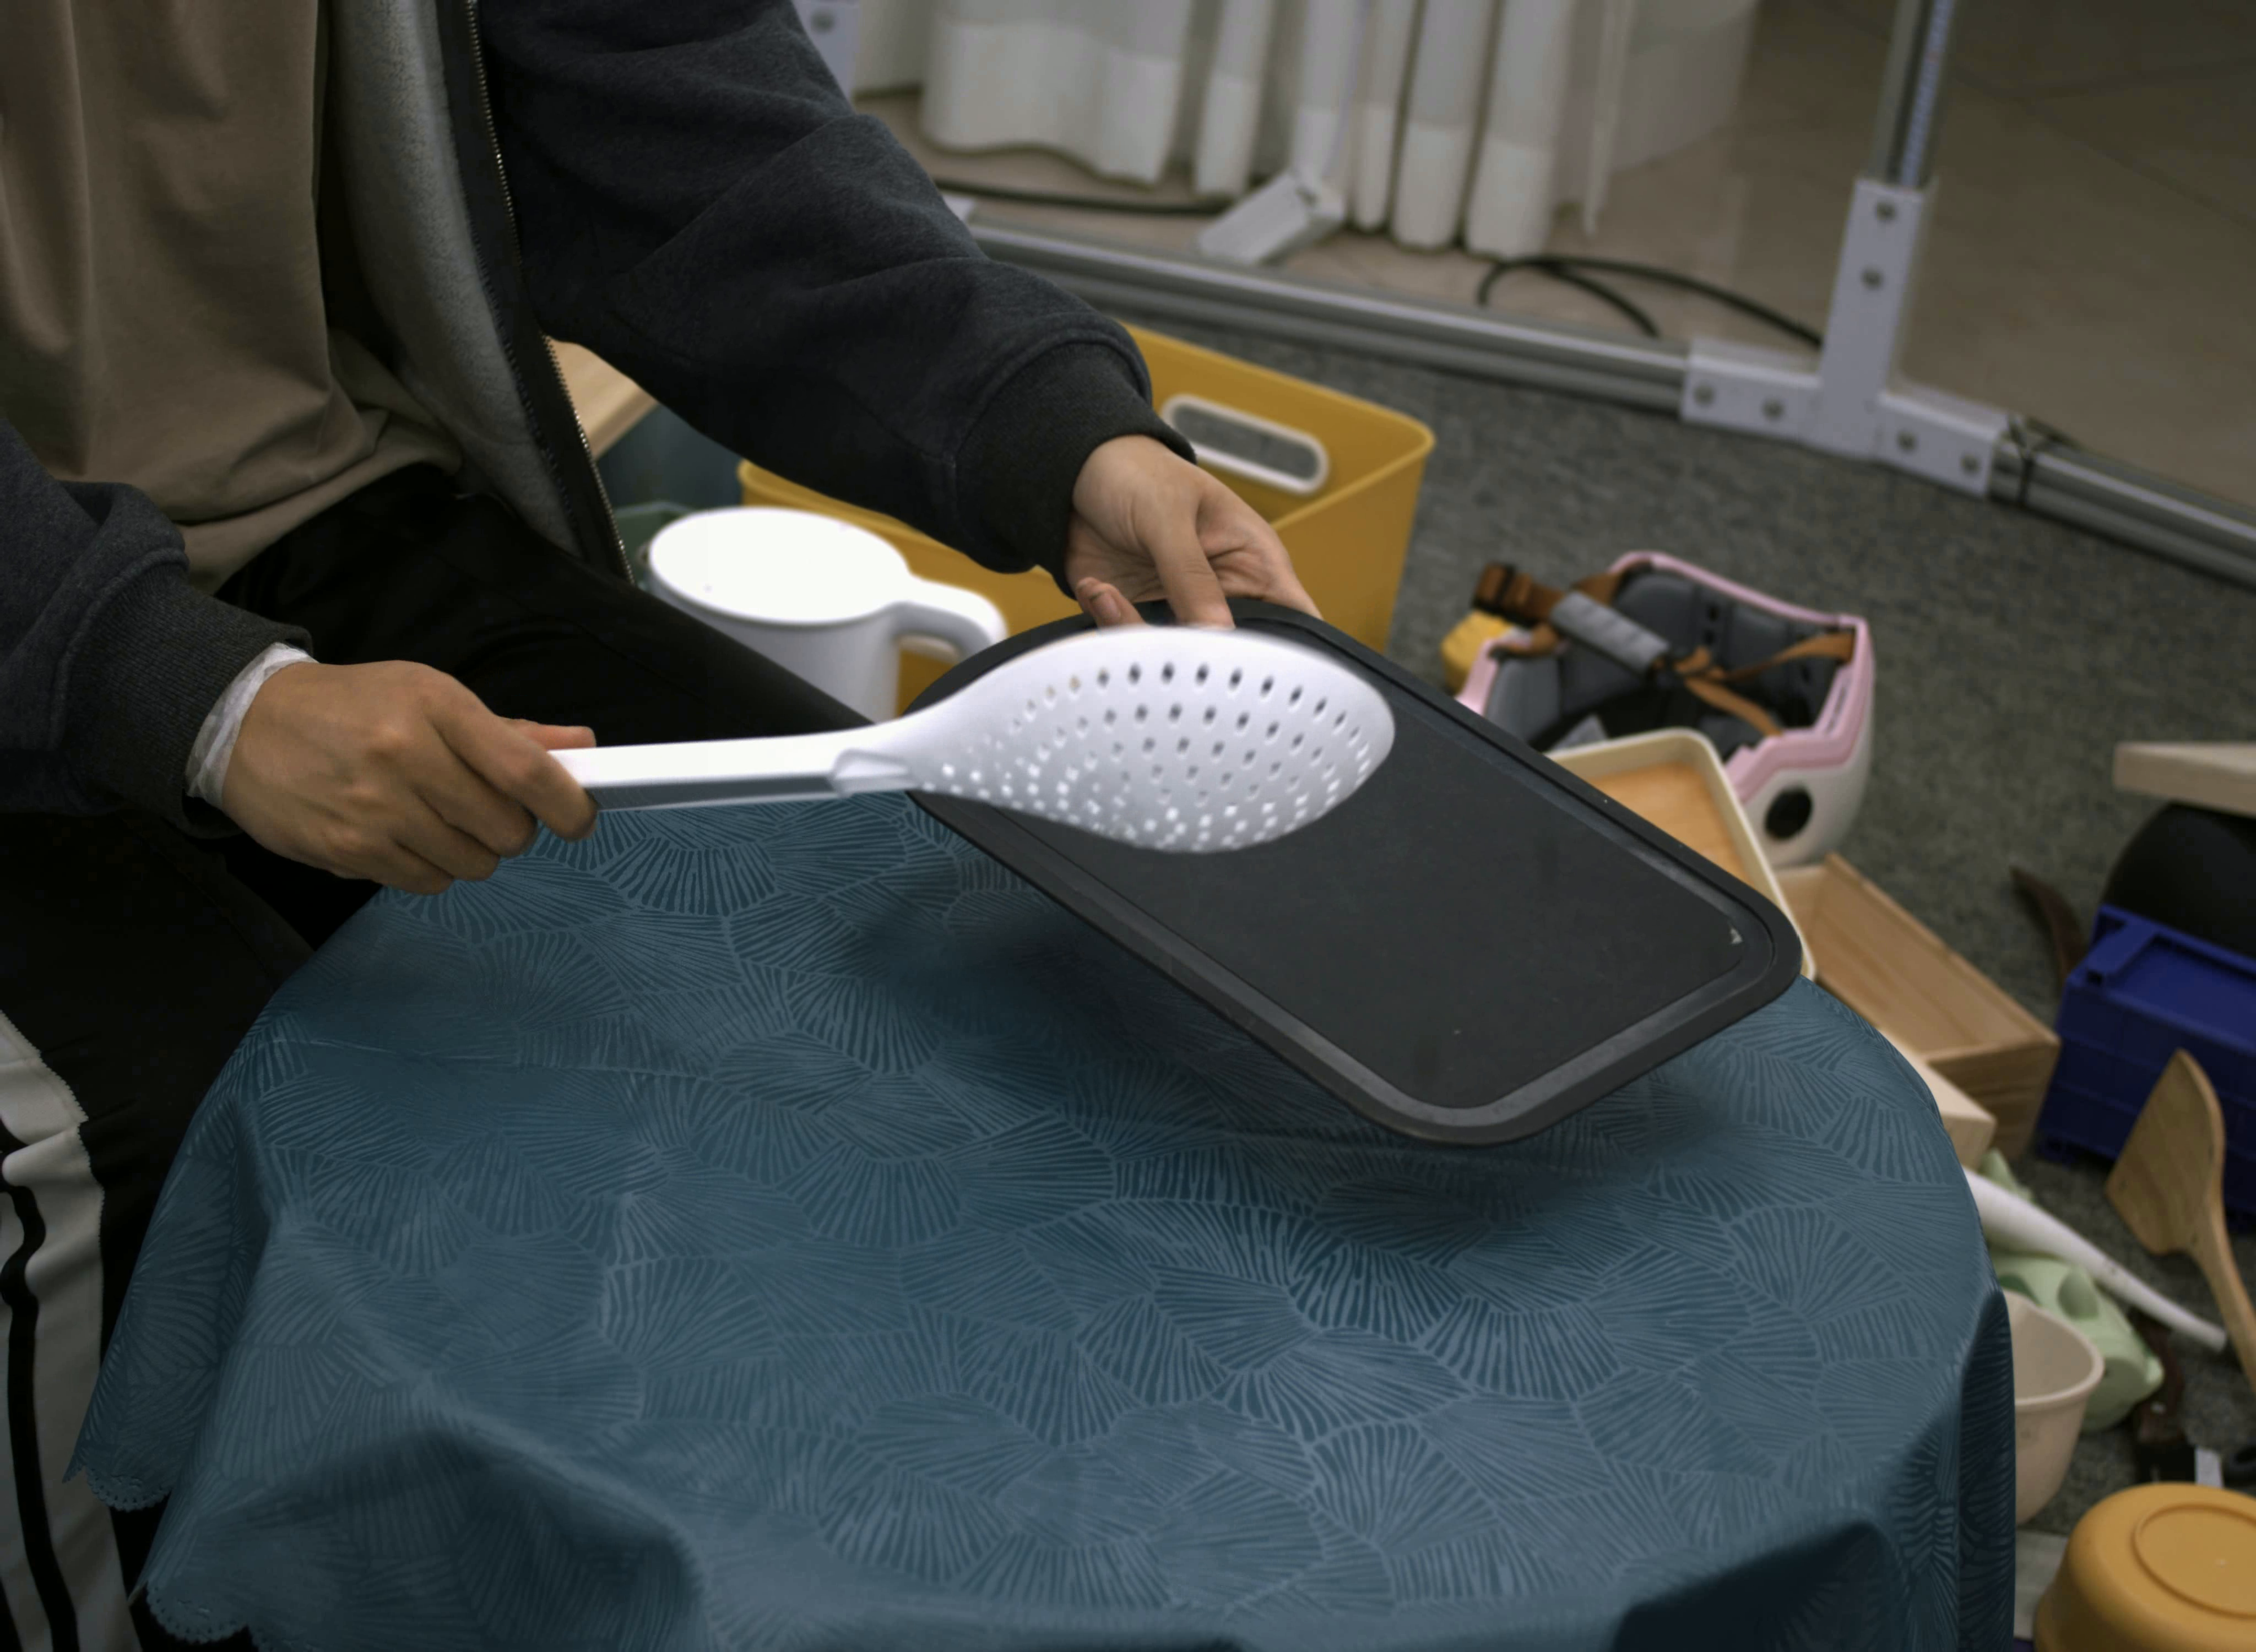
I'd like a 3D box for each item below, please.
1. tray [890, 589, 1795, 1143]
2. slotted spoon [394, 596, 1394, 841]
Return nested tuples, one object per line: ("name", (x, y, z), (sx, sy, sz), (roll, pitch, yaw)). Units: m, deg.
("tray", (0.067, 0.004, 1.900), (0.210, 0.010, 0.328), (-25, 46, -37))
("slotted spoon", (-0.083, -0.026, 1.789), (0.350, 0.135, 0.046), (0, 61, 19))
